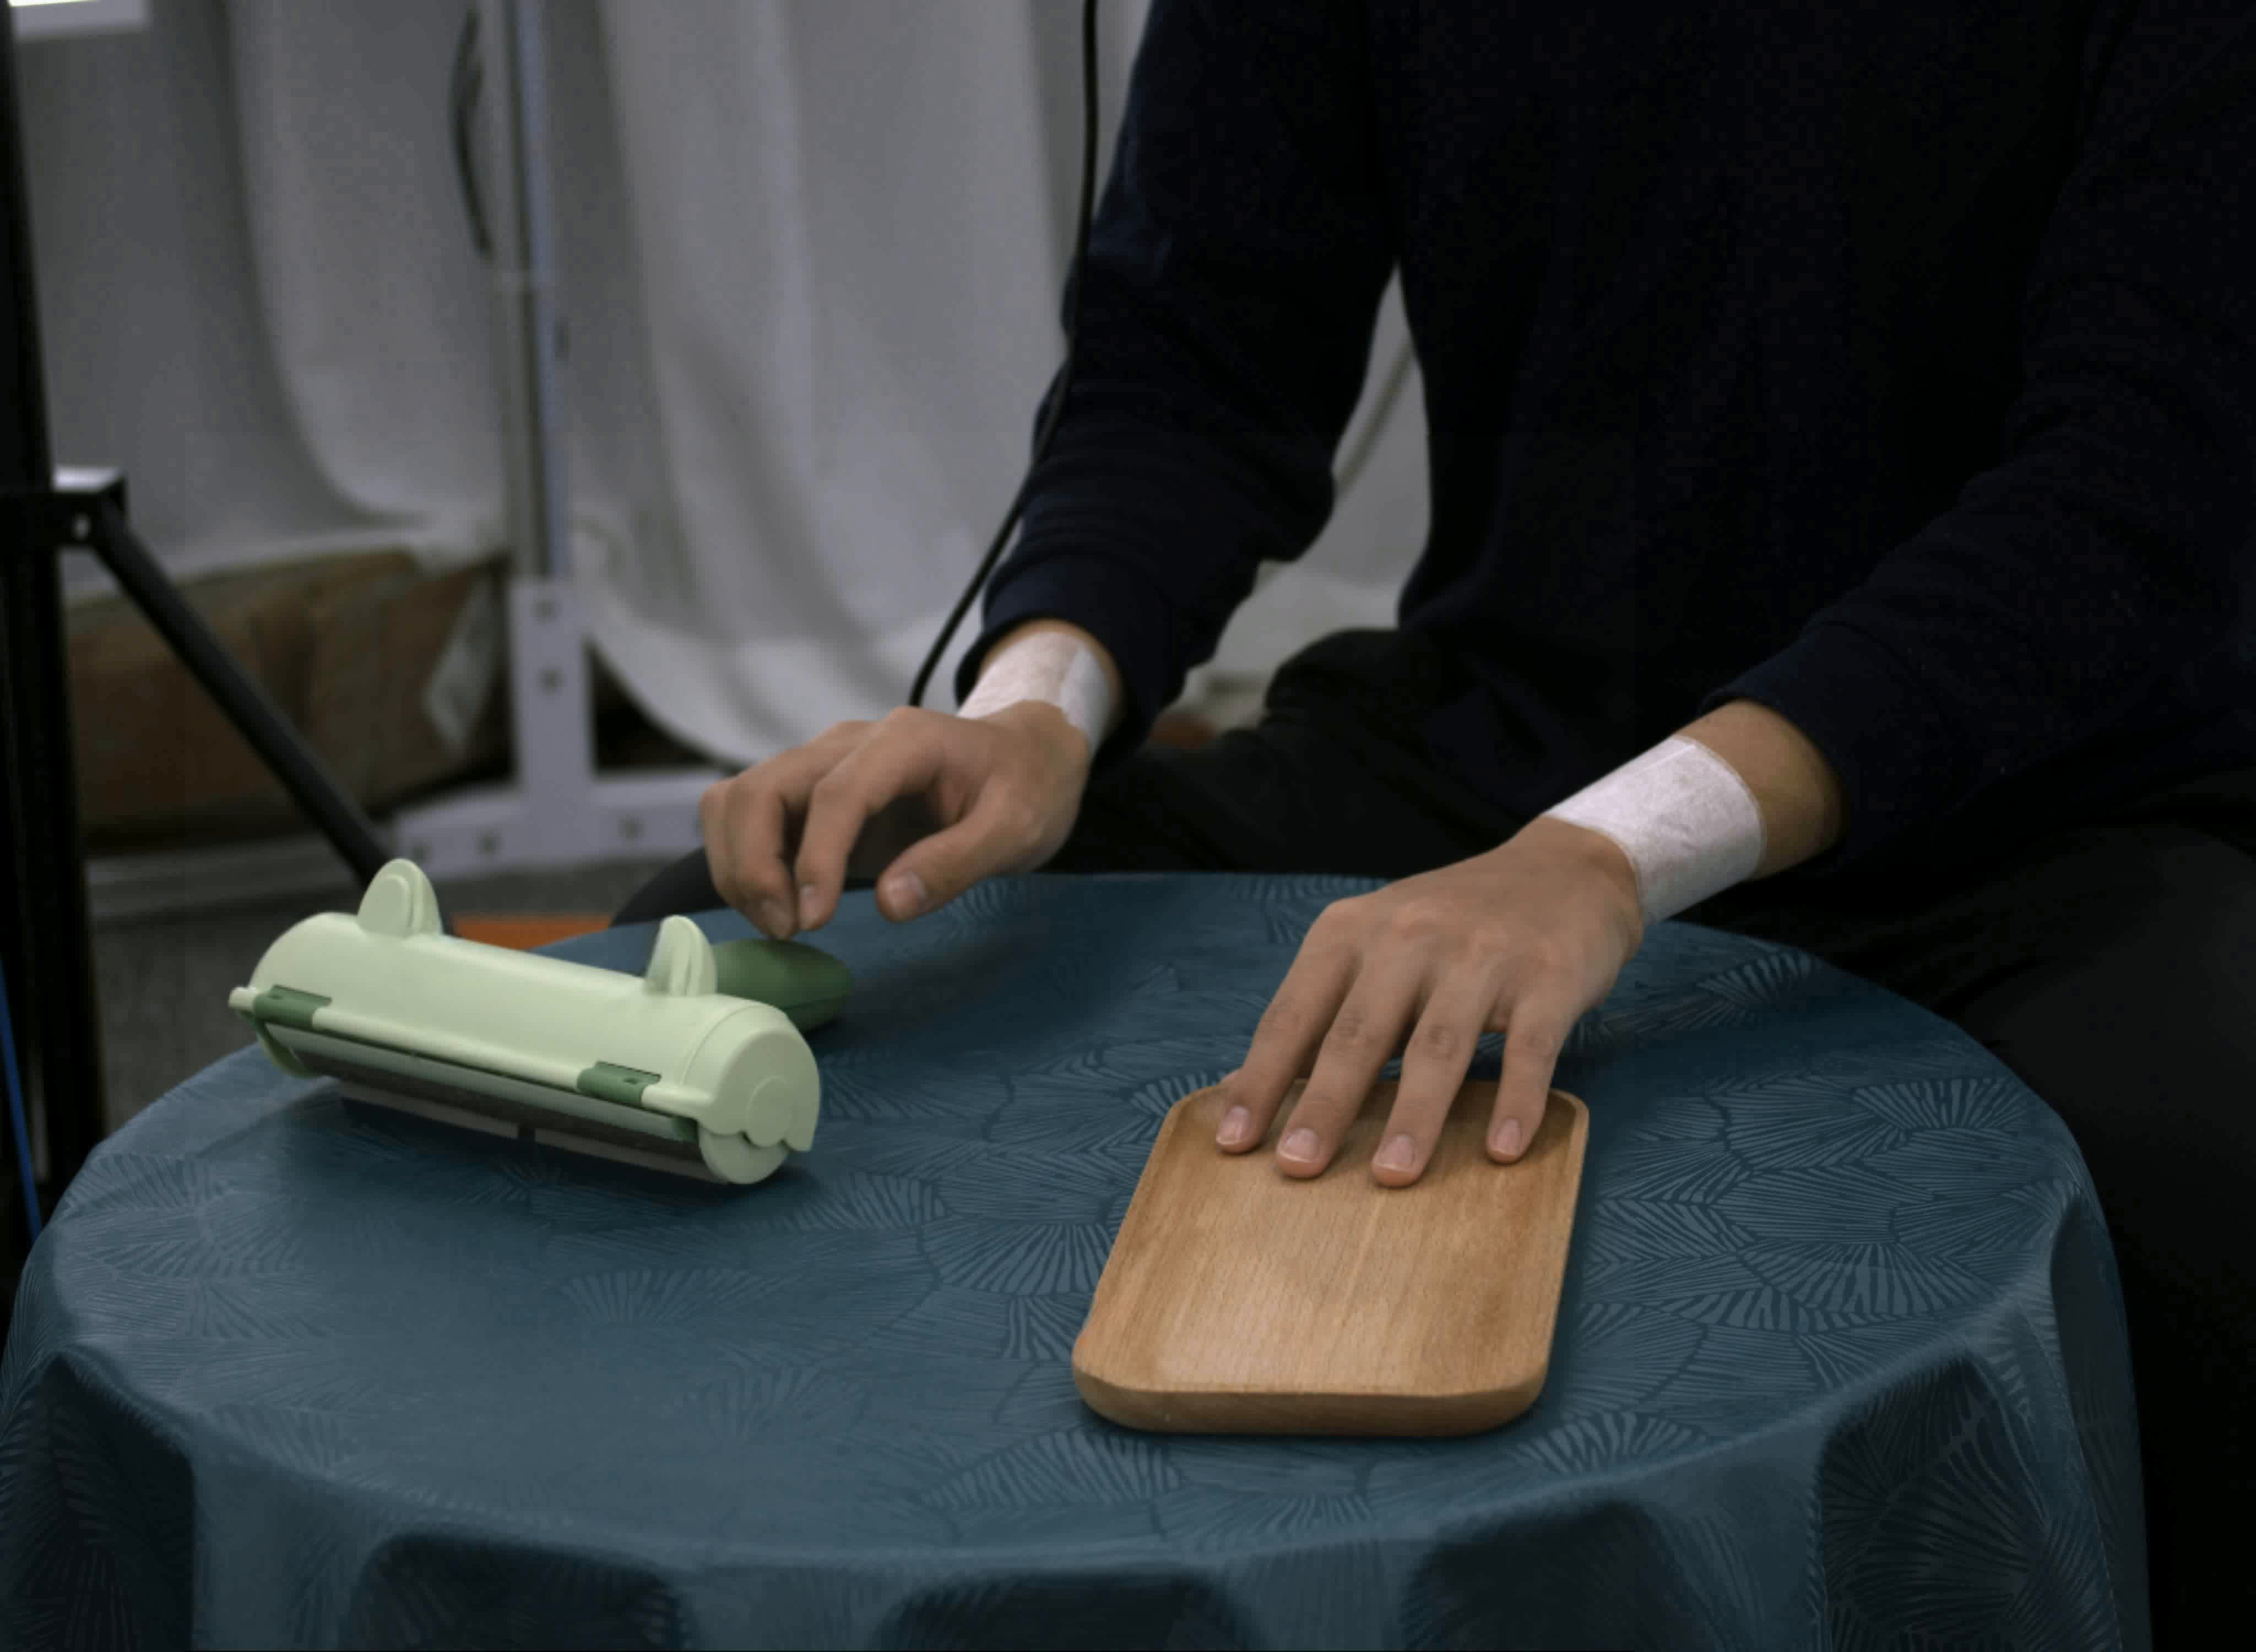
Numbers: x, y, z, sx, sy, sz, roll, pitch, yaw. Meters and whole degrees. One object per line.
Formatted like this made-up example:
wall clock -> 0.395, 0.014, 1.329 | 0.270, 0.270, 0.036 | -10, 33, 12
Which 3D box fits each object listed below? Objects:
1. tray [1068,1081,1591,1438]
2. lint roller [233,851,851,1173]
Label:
tray -> 0.061, 0.118, 1.482 | 0.131, 0.023, 0.250 | 2, 16, 9
lint roller -> -0.150, 0.040, 1.664 | 0.203, 0.082, 0.180 | 10, 26, 37
